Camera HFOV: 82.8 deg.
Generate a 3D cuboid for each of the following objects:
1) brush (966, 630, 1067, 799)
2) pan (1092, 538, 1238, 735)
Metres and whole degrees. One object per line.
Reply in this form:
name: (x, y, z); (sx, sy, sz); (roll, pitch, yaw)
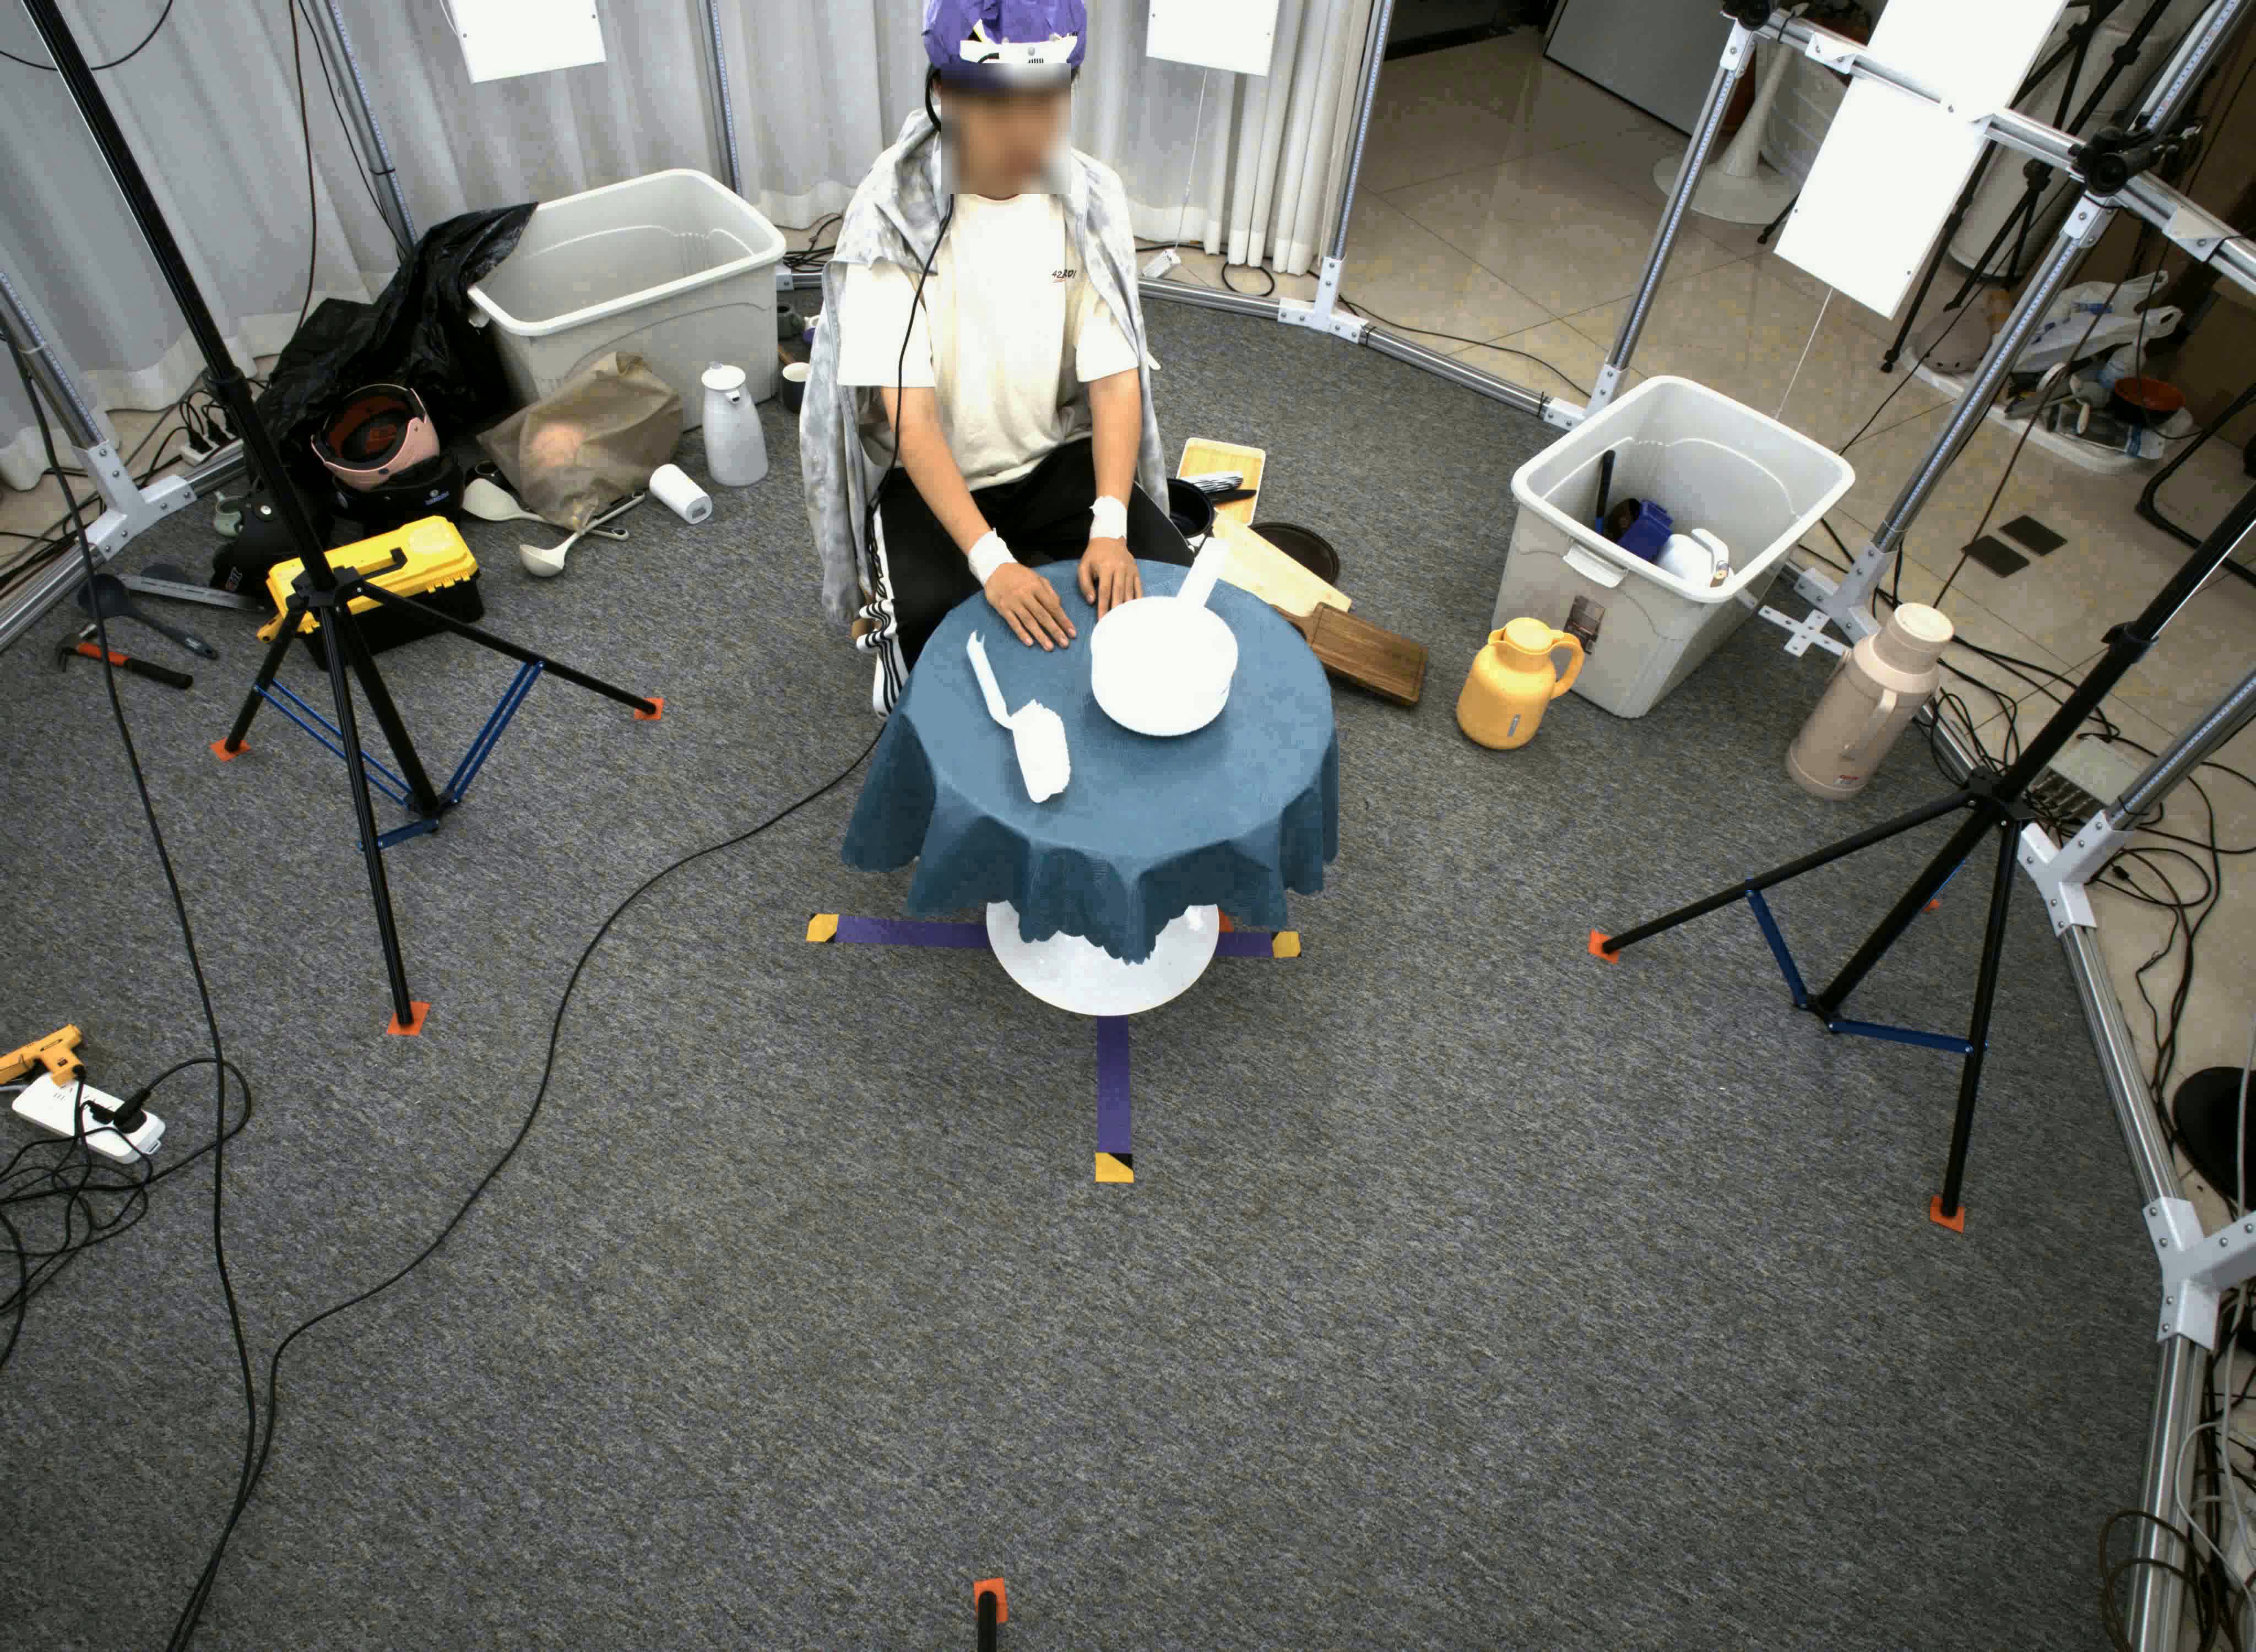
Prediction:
brush: (-0.149, -0.176, 1.750); (0.084, 0.081, 0.333); (-17, 53, -9)
pan: (0.074, -0.273, 1.838); (0.202, 0.099, 0.362); (17, 49, 11)
